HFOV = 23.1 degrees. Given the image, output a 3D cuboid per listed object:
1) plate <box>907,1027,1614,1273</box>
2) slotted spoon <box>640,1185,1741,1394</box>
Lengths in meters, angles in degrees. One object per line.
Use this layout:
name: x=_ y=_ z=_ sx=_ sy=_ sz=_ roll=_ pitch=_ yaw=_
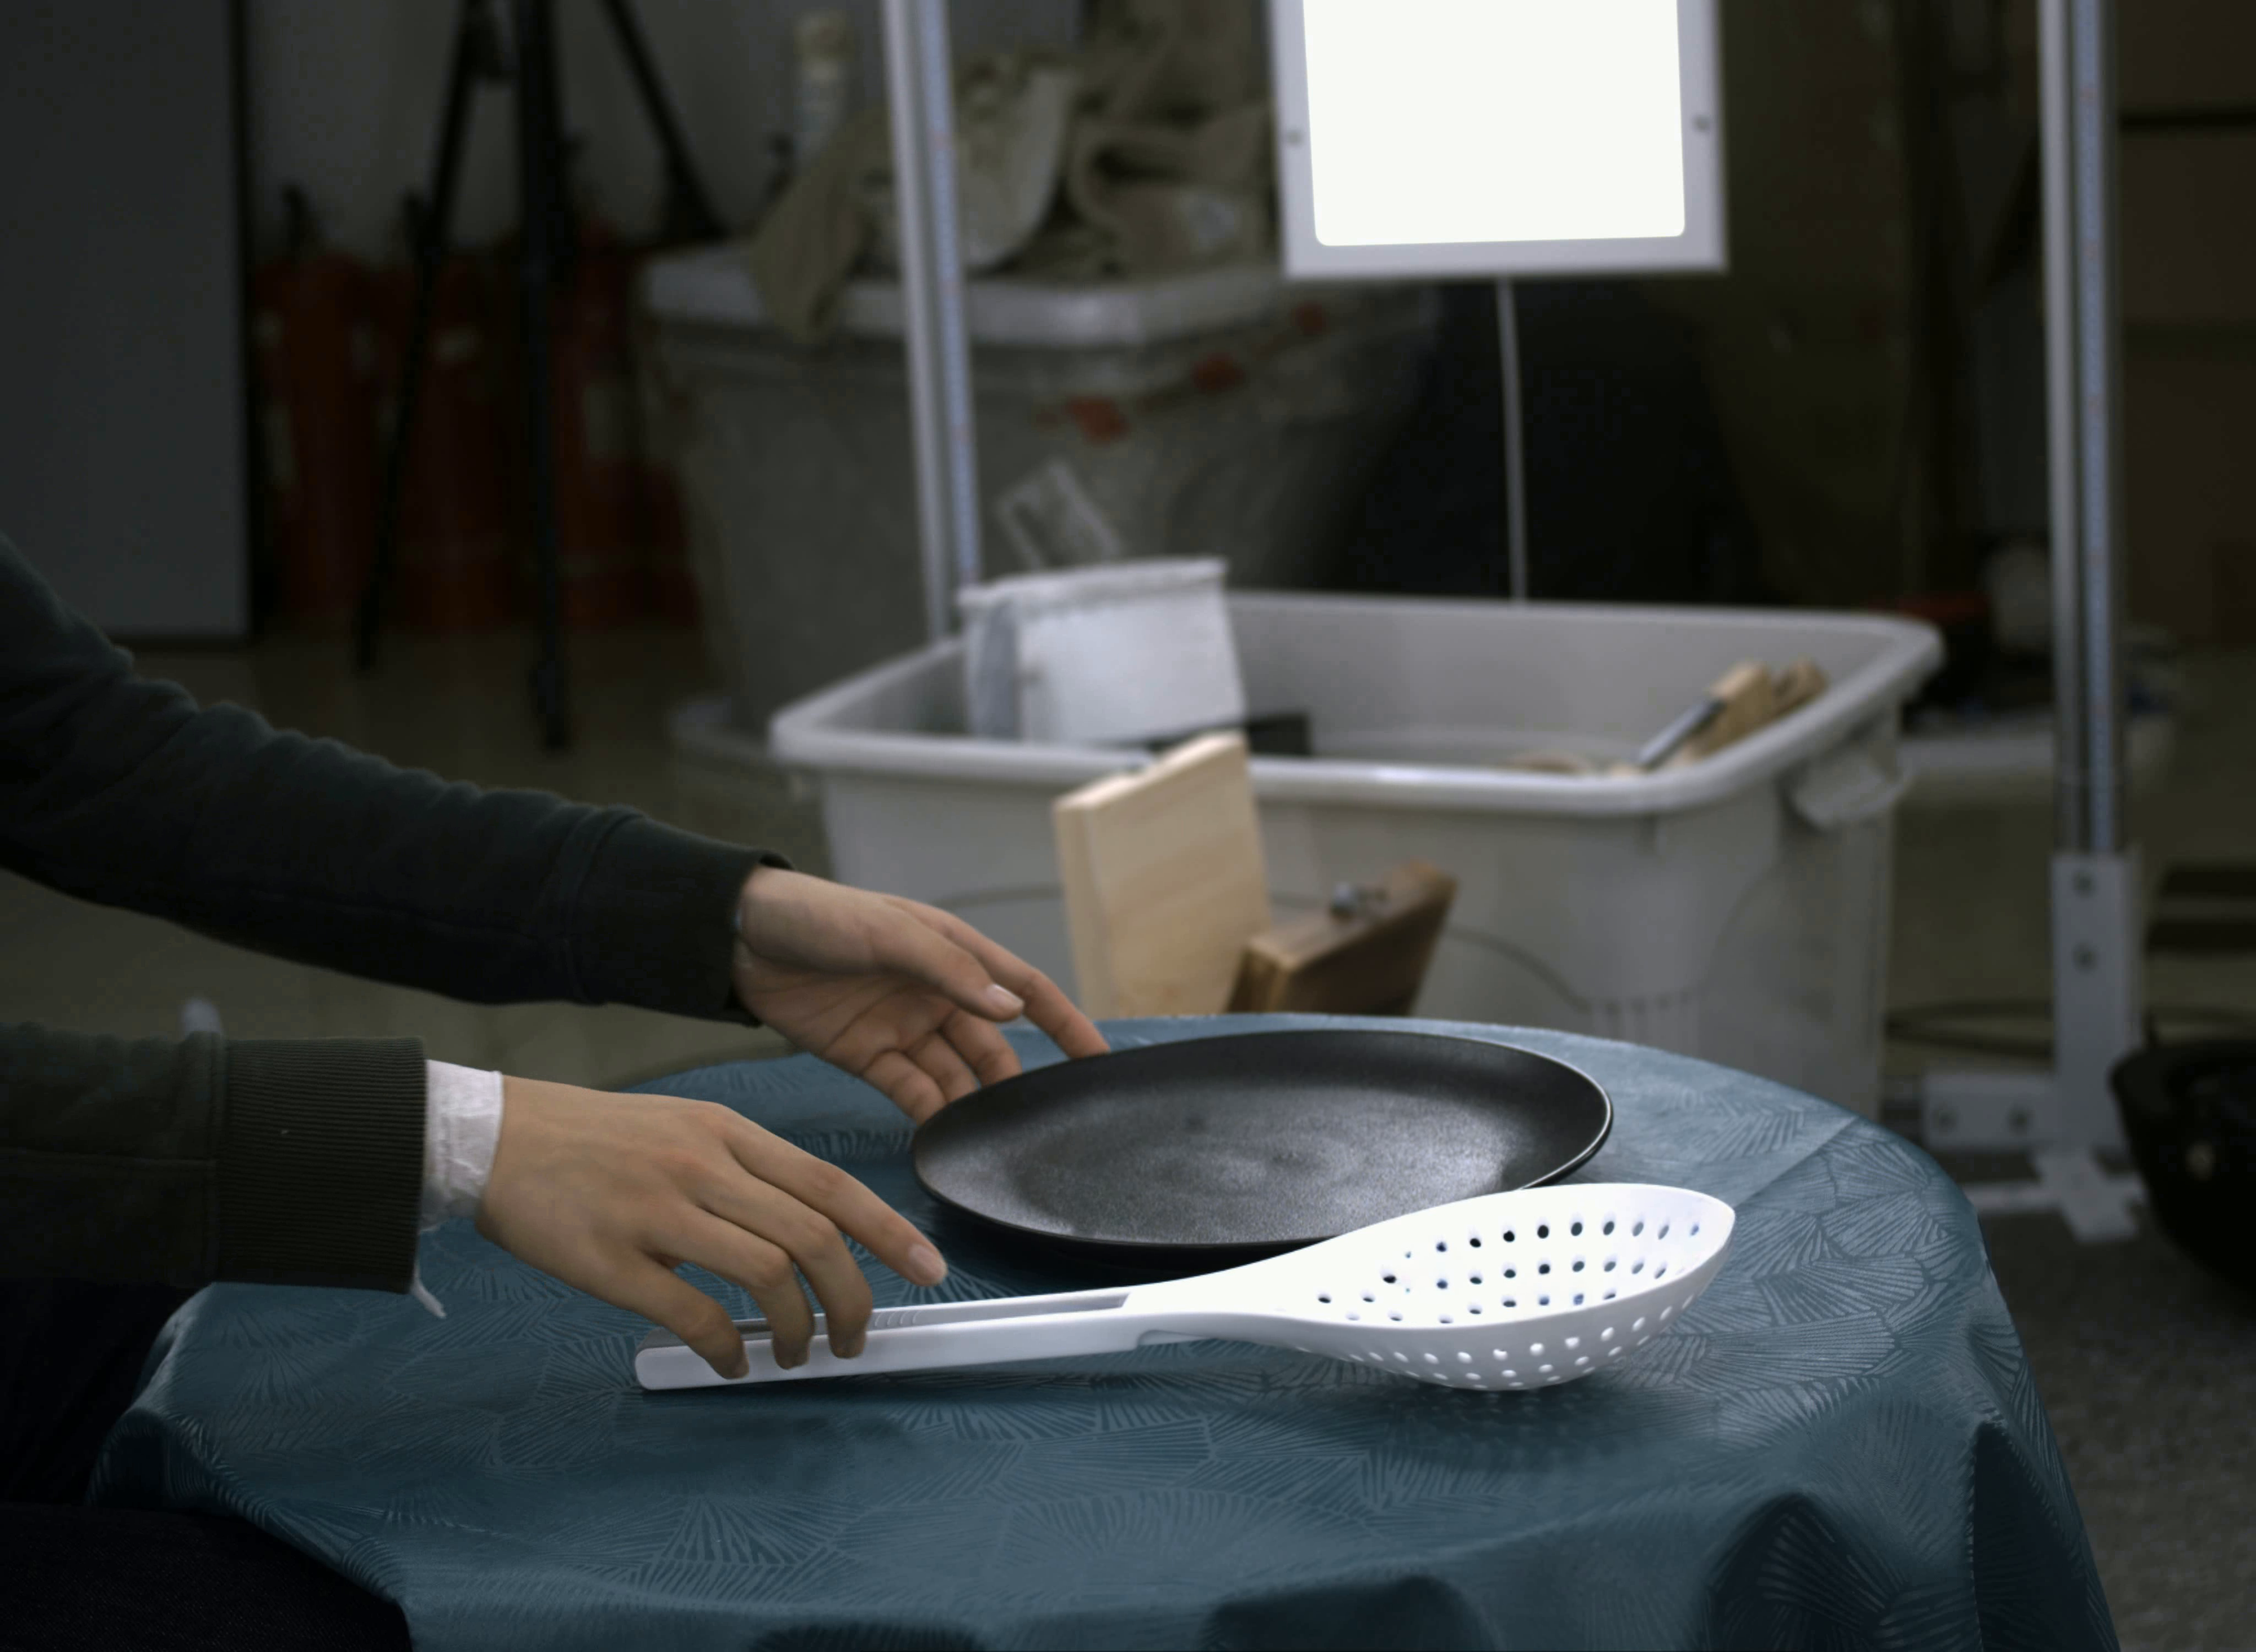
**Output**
plate: x=0.046 y=0.113 z=1.886 sx=0.244 sy=0.023 sz=0.244 roll=-5 pitch=14 yaw=0
slotted spoon: x=0.017 y=0.149 z=1.703 sx=0.353 sy=0.046 sz=0.134 roll=-2 pitch=12 yaw=14
